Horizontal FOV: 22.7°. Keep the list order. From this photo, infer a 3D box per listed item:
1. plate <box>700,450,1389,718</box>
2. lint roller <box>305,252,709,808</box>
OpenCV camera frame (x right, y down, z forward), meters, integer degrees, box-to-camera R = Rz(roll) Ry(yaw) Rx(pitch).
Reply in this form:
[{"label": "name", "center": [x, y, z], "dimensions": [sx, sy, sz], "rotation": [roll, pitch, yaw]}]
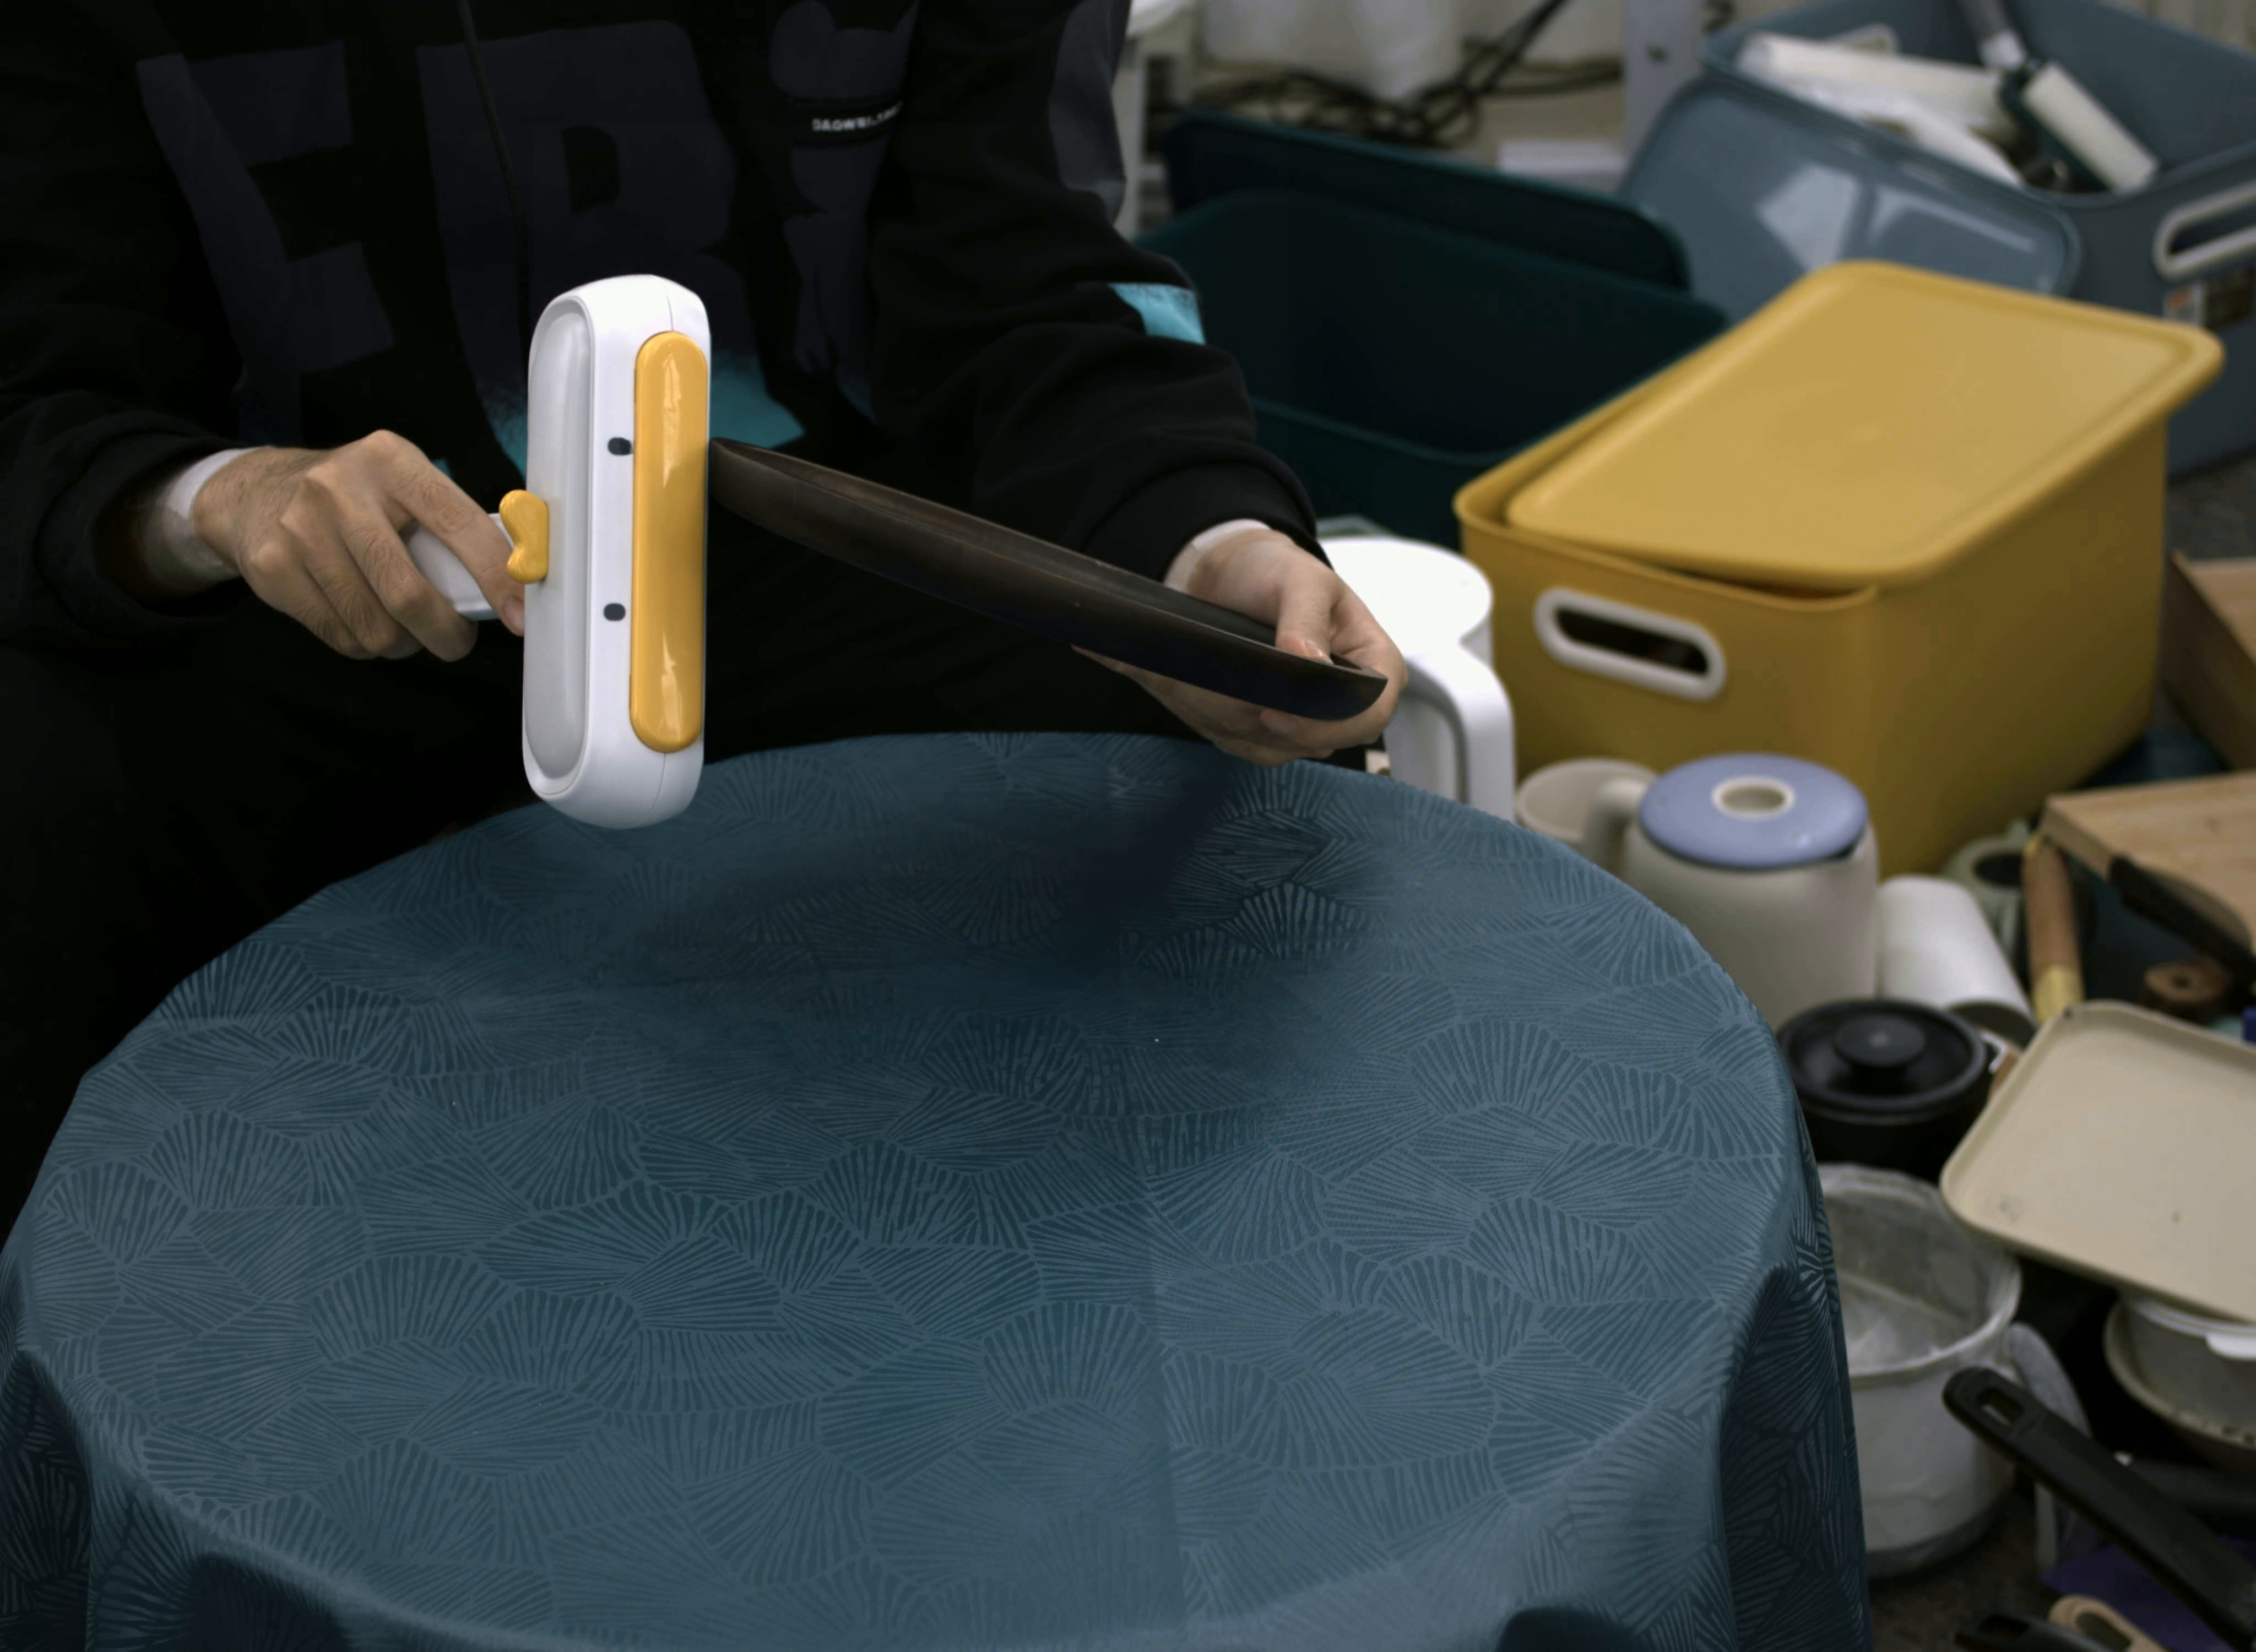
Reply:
[{"label": "plate", "center": [-0.031, -0.085, 1.971], "dimensions": [0.254, 0.029, 0.255], "rotation": [19, 2, 0]}, {"label": "lint roller", "center": [-0.219, -0.095, 1.993], "dimensions": [0.074, 0.194, 0.190], "rotation": [1, -9, -40]}]
